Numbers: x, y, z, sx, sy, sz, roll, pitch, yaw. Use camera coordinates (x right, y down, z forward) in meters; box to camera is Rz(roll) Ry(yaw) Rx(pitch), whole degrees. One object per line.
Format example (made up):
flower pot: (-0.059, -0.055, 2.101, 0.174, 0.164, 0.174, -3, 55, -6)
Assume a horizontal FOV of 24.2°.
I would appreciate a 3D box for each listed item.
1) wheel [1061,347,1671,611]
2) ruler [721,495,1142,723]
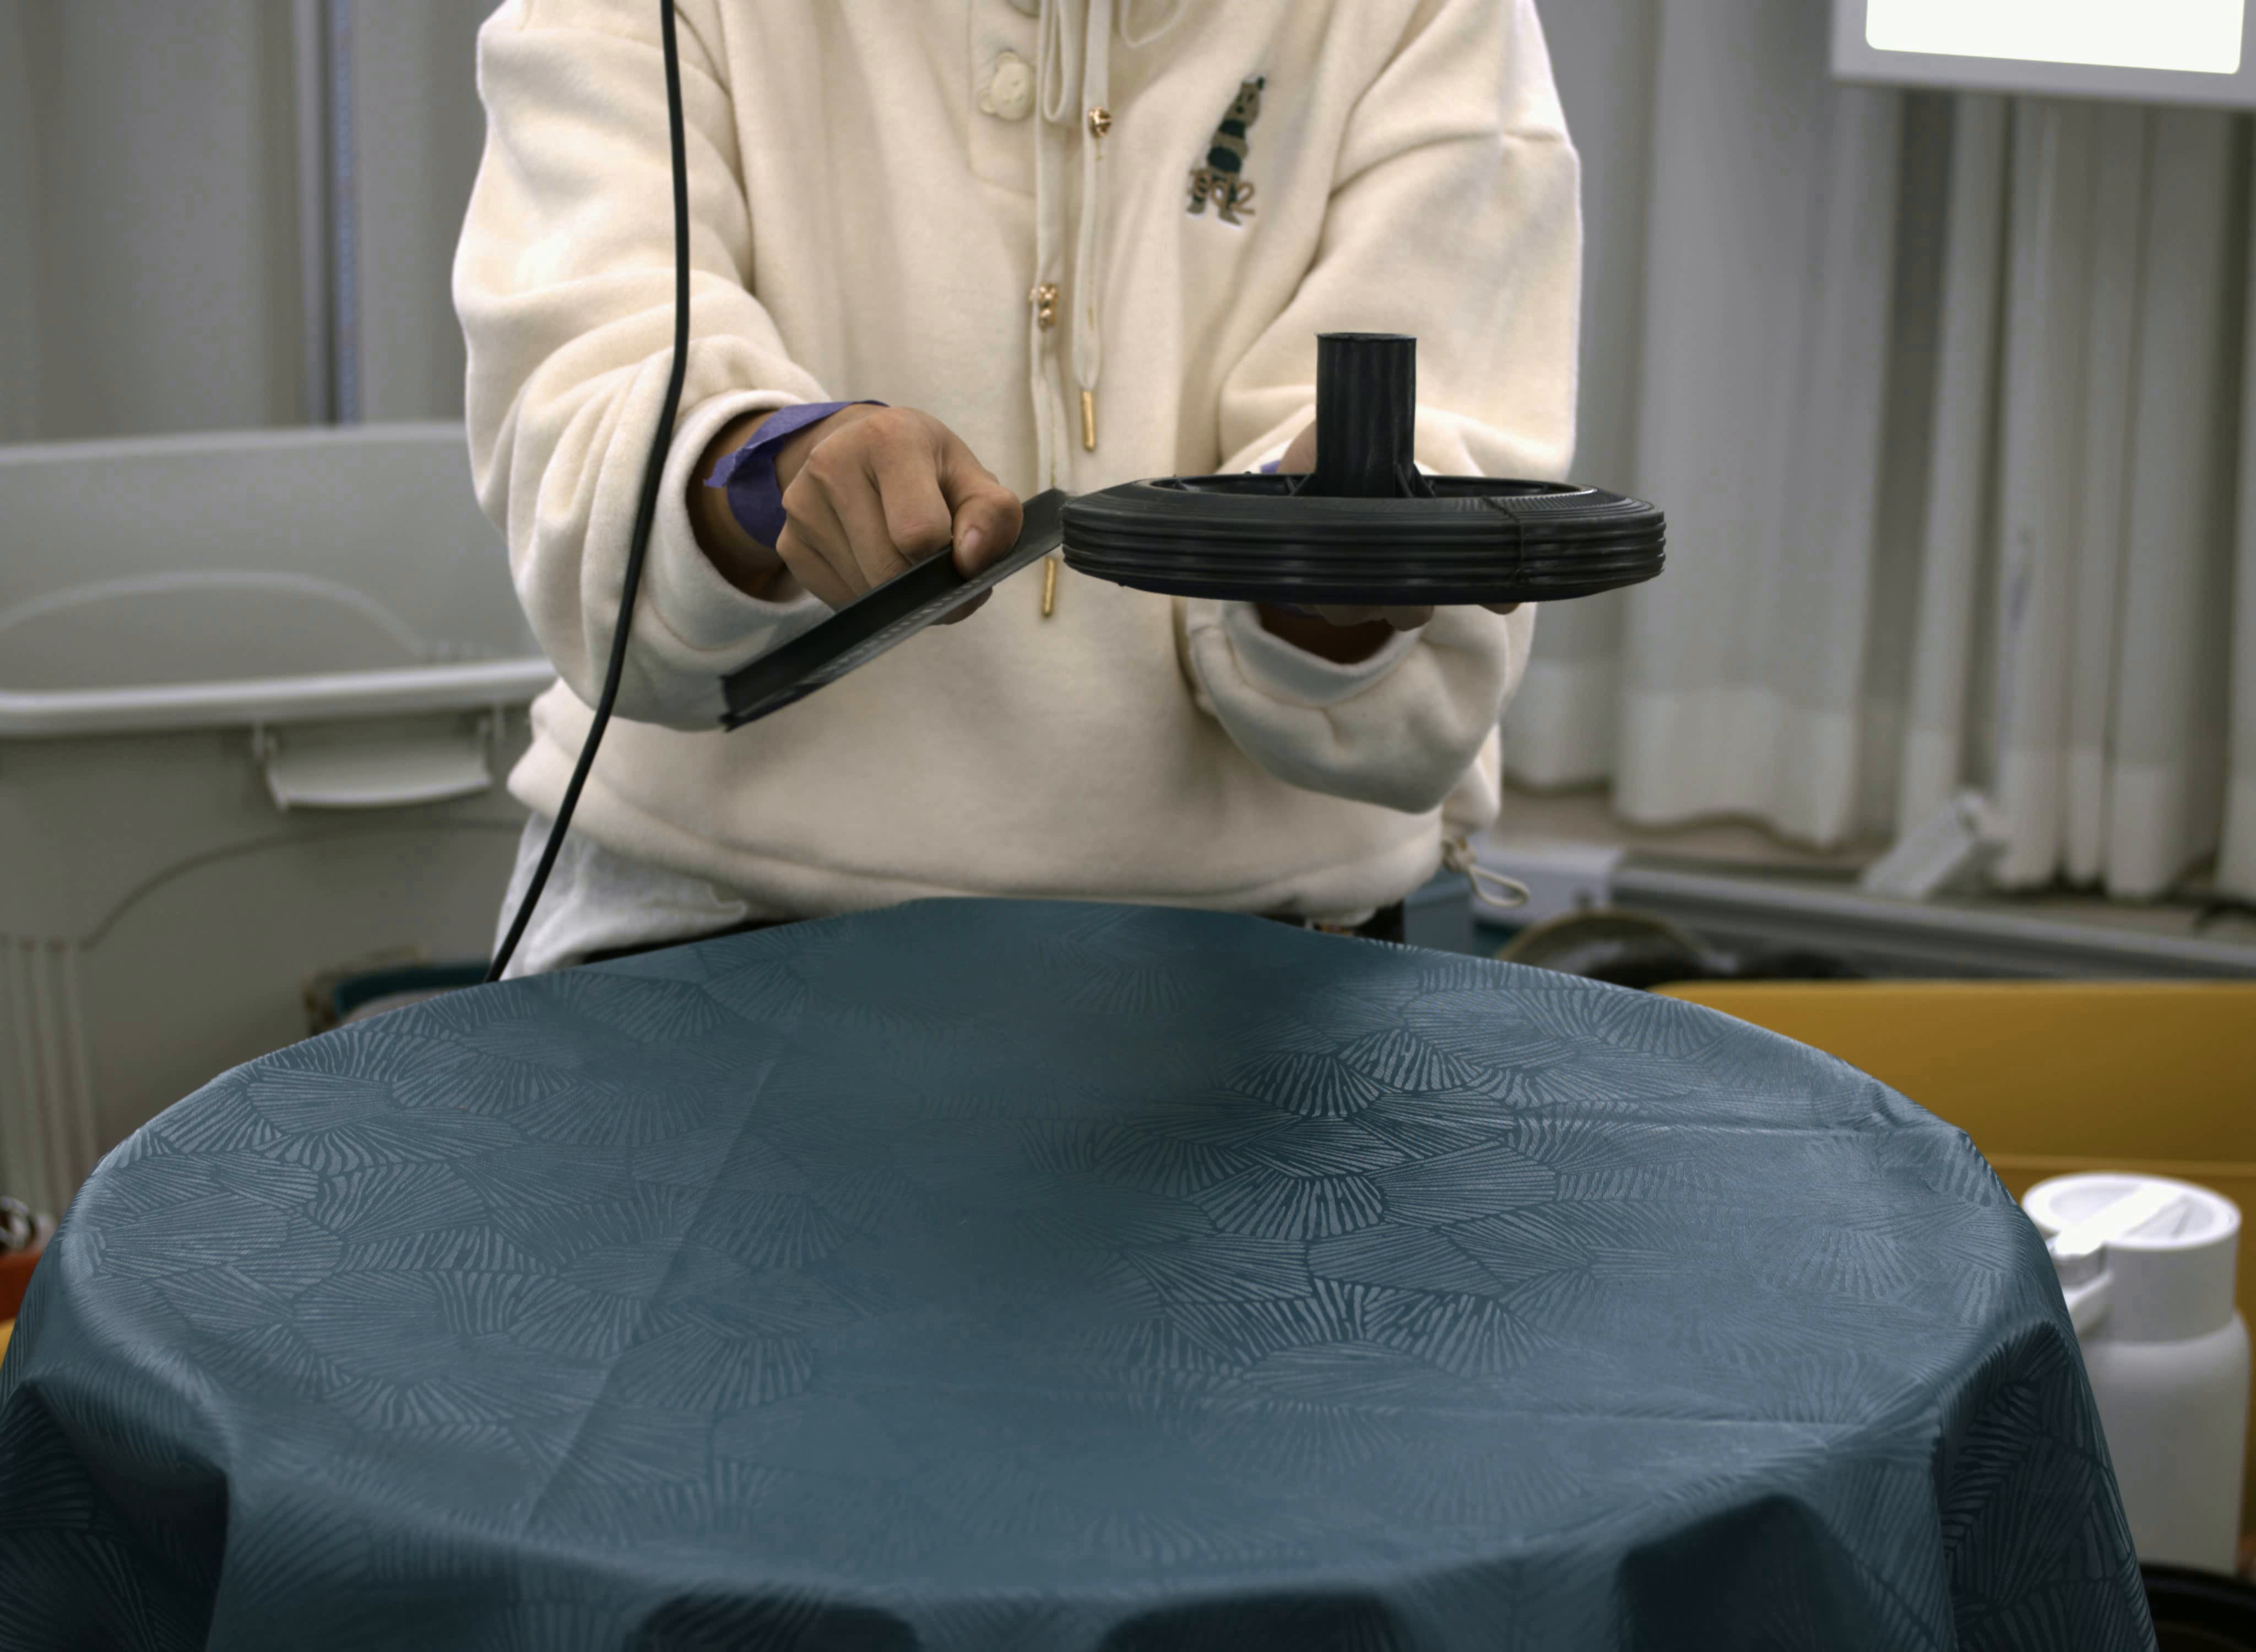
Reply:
wheel: (0.074, -0.109, 1.635, 0.188, 0.079, 0.187, 2, 7, 9)
ruler: (-0.056, -0.074, 1.588, 0.039, 0.017, 0.312, -21, 6, 20)
